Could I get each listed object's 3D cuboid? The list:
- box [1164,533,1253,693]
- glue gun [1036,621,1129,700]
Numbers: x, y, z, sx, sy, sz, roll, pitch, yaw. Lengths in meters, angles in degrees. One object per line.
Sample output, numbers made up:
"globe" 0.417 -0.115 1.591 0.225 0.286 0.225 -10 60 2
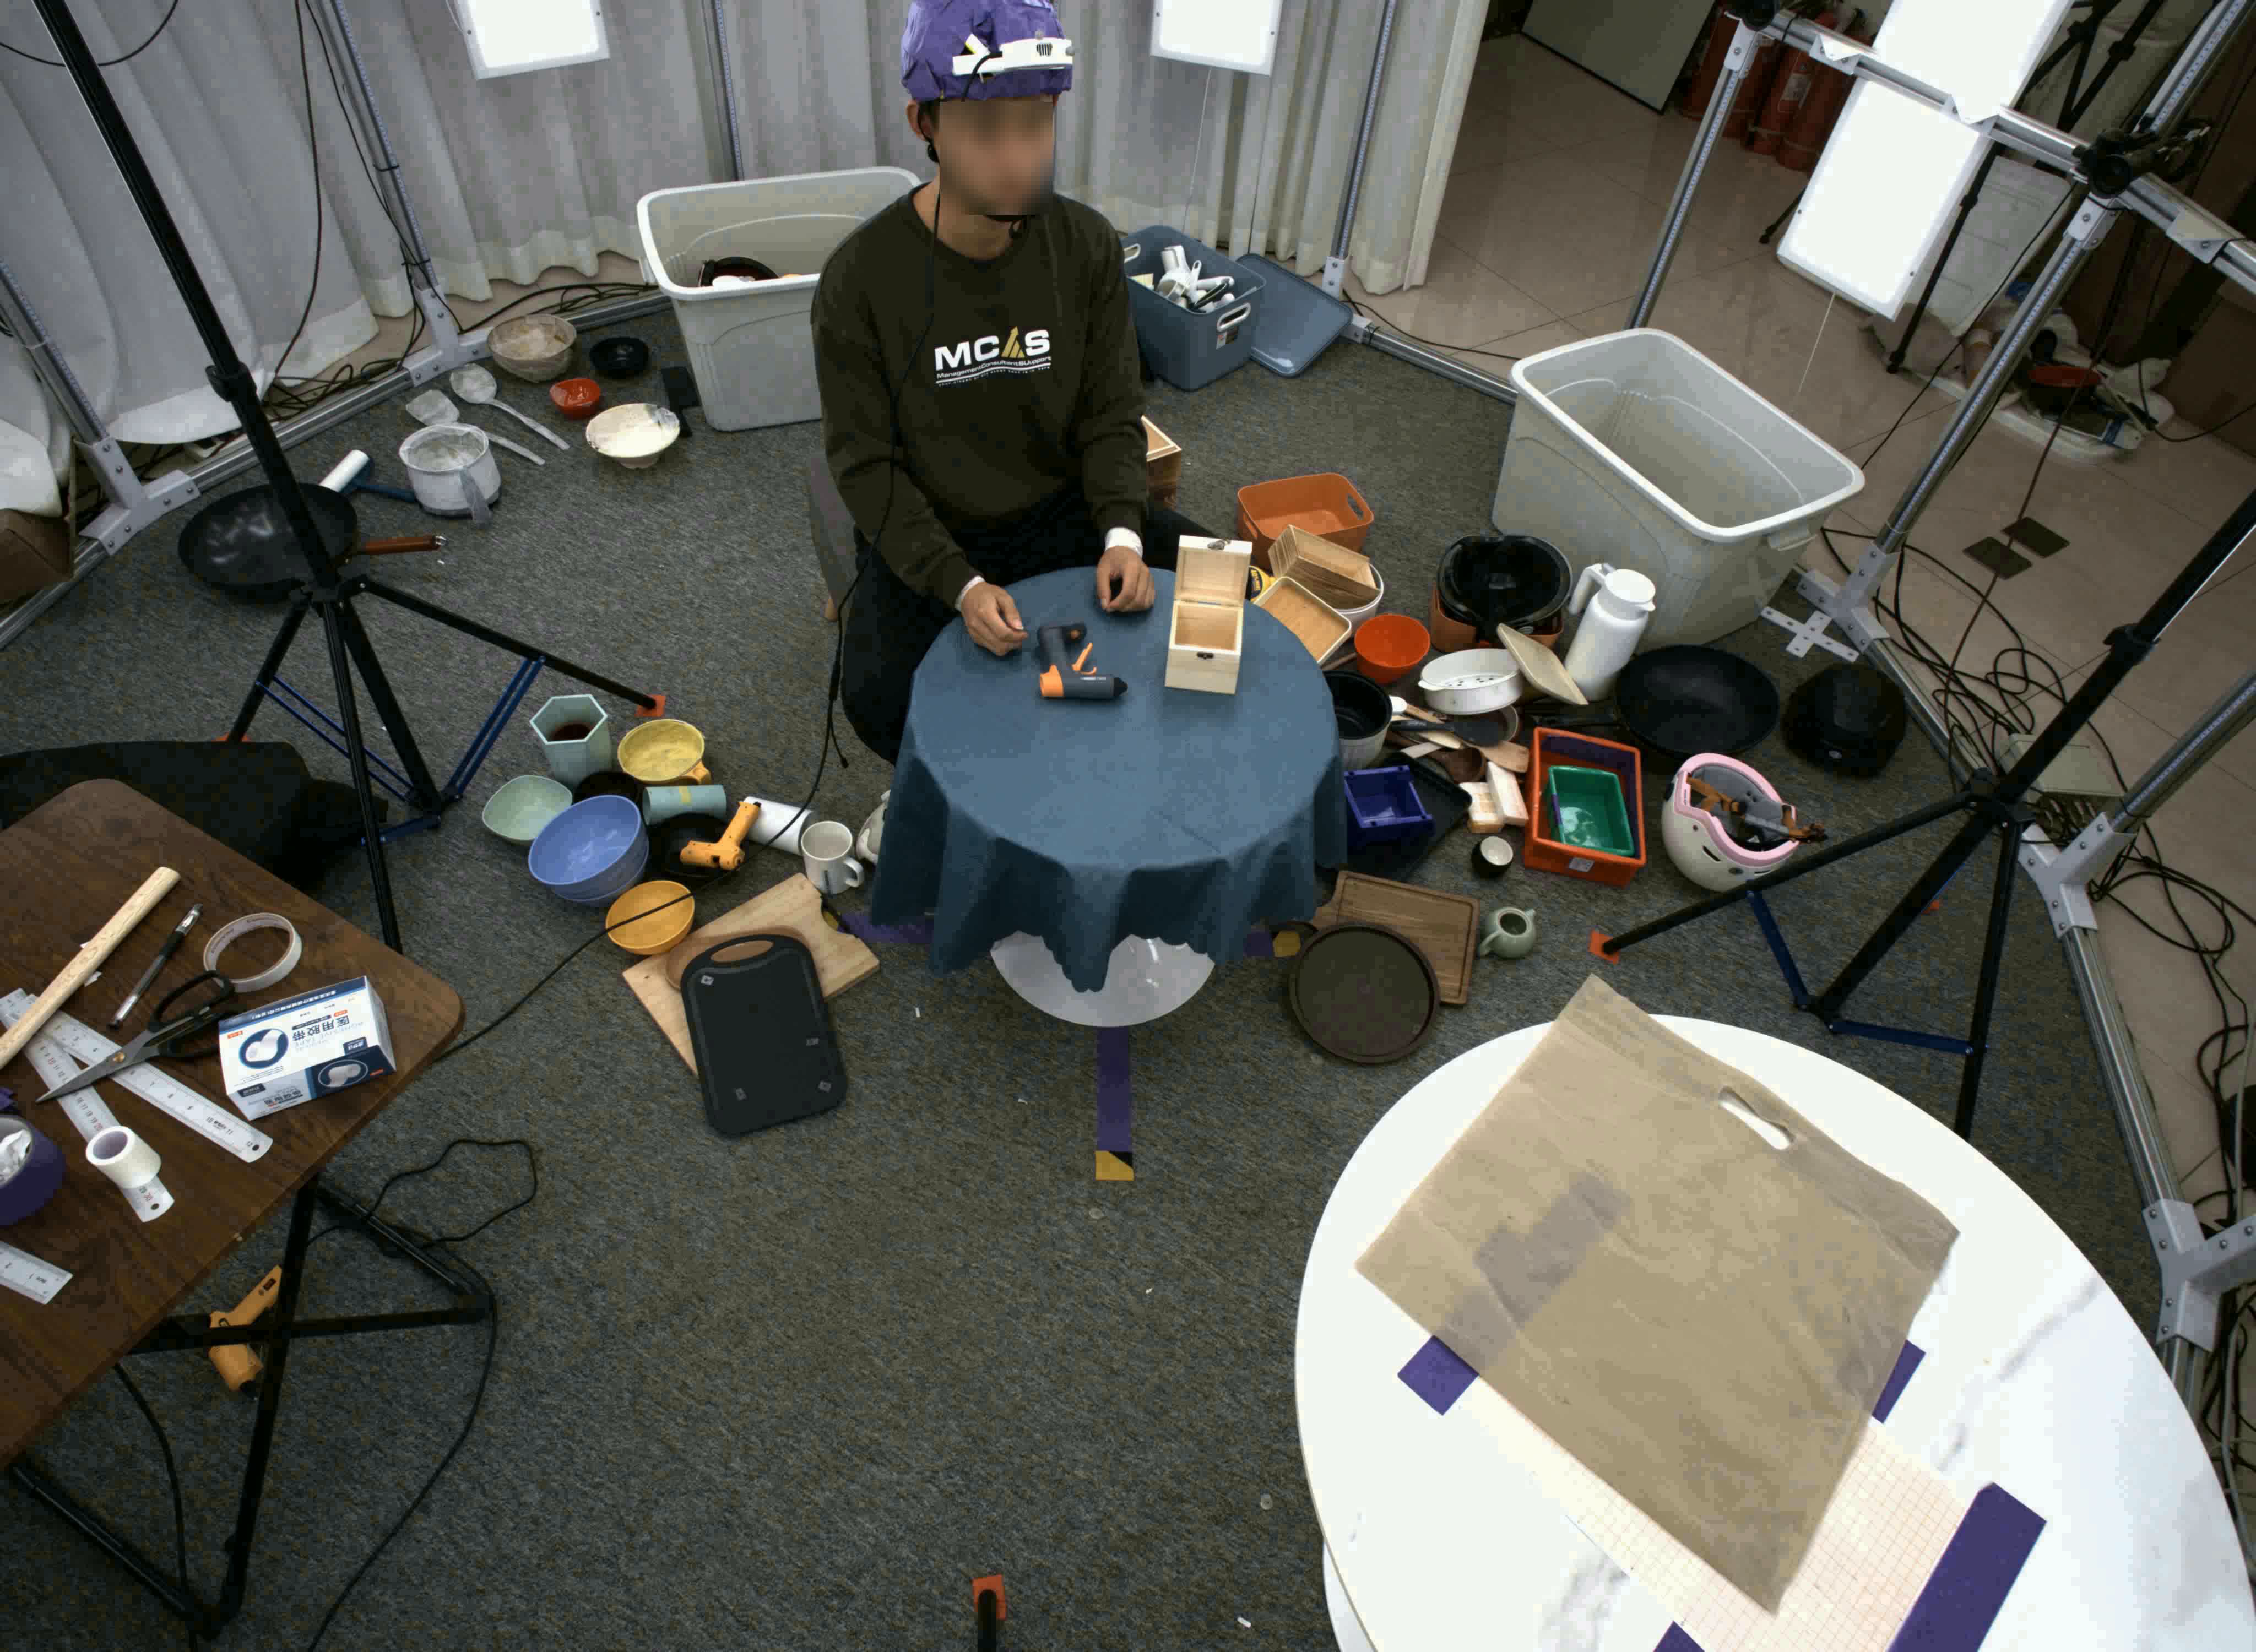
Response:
"box" 0.113 -0.297 1.806 0.102 0.180 0.137 5 50 -1
"glue gun" -0.072 -0.230 1.834 0.118 0.040 0.143 -10 52 -15
